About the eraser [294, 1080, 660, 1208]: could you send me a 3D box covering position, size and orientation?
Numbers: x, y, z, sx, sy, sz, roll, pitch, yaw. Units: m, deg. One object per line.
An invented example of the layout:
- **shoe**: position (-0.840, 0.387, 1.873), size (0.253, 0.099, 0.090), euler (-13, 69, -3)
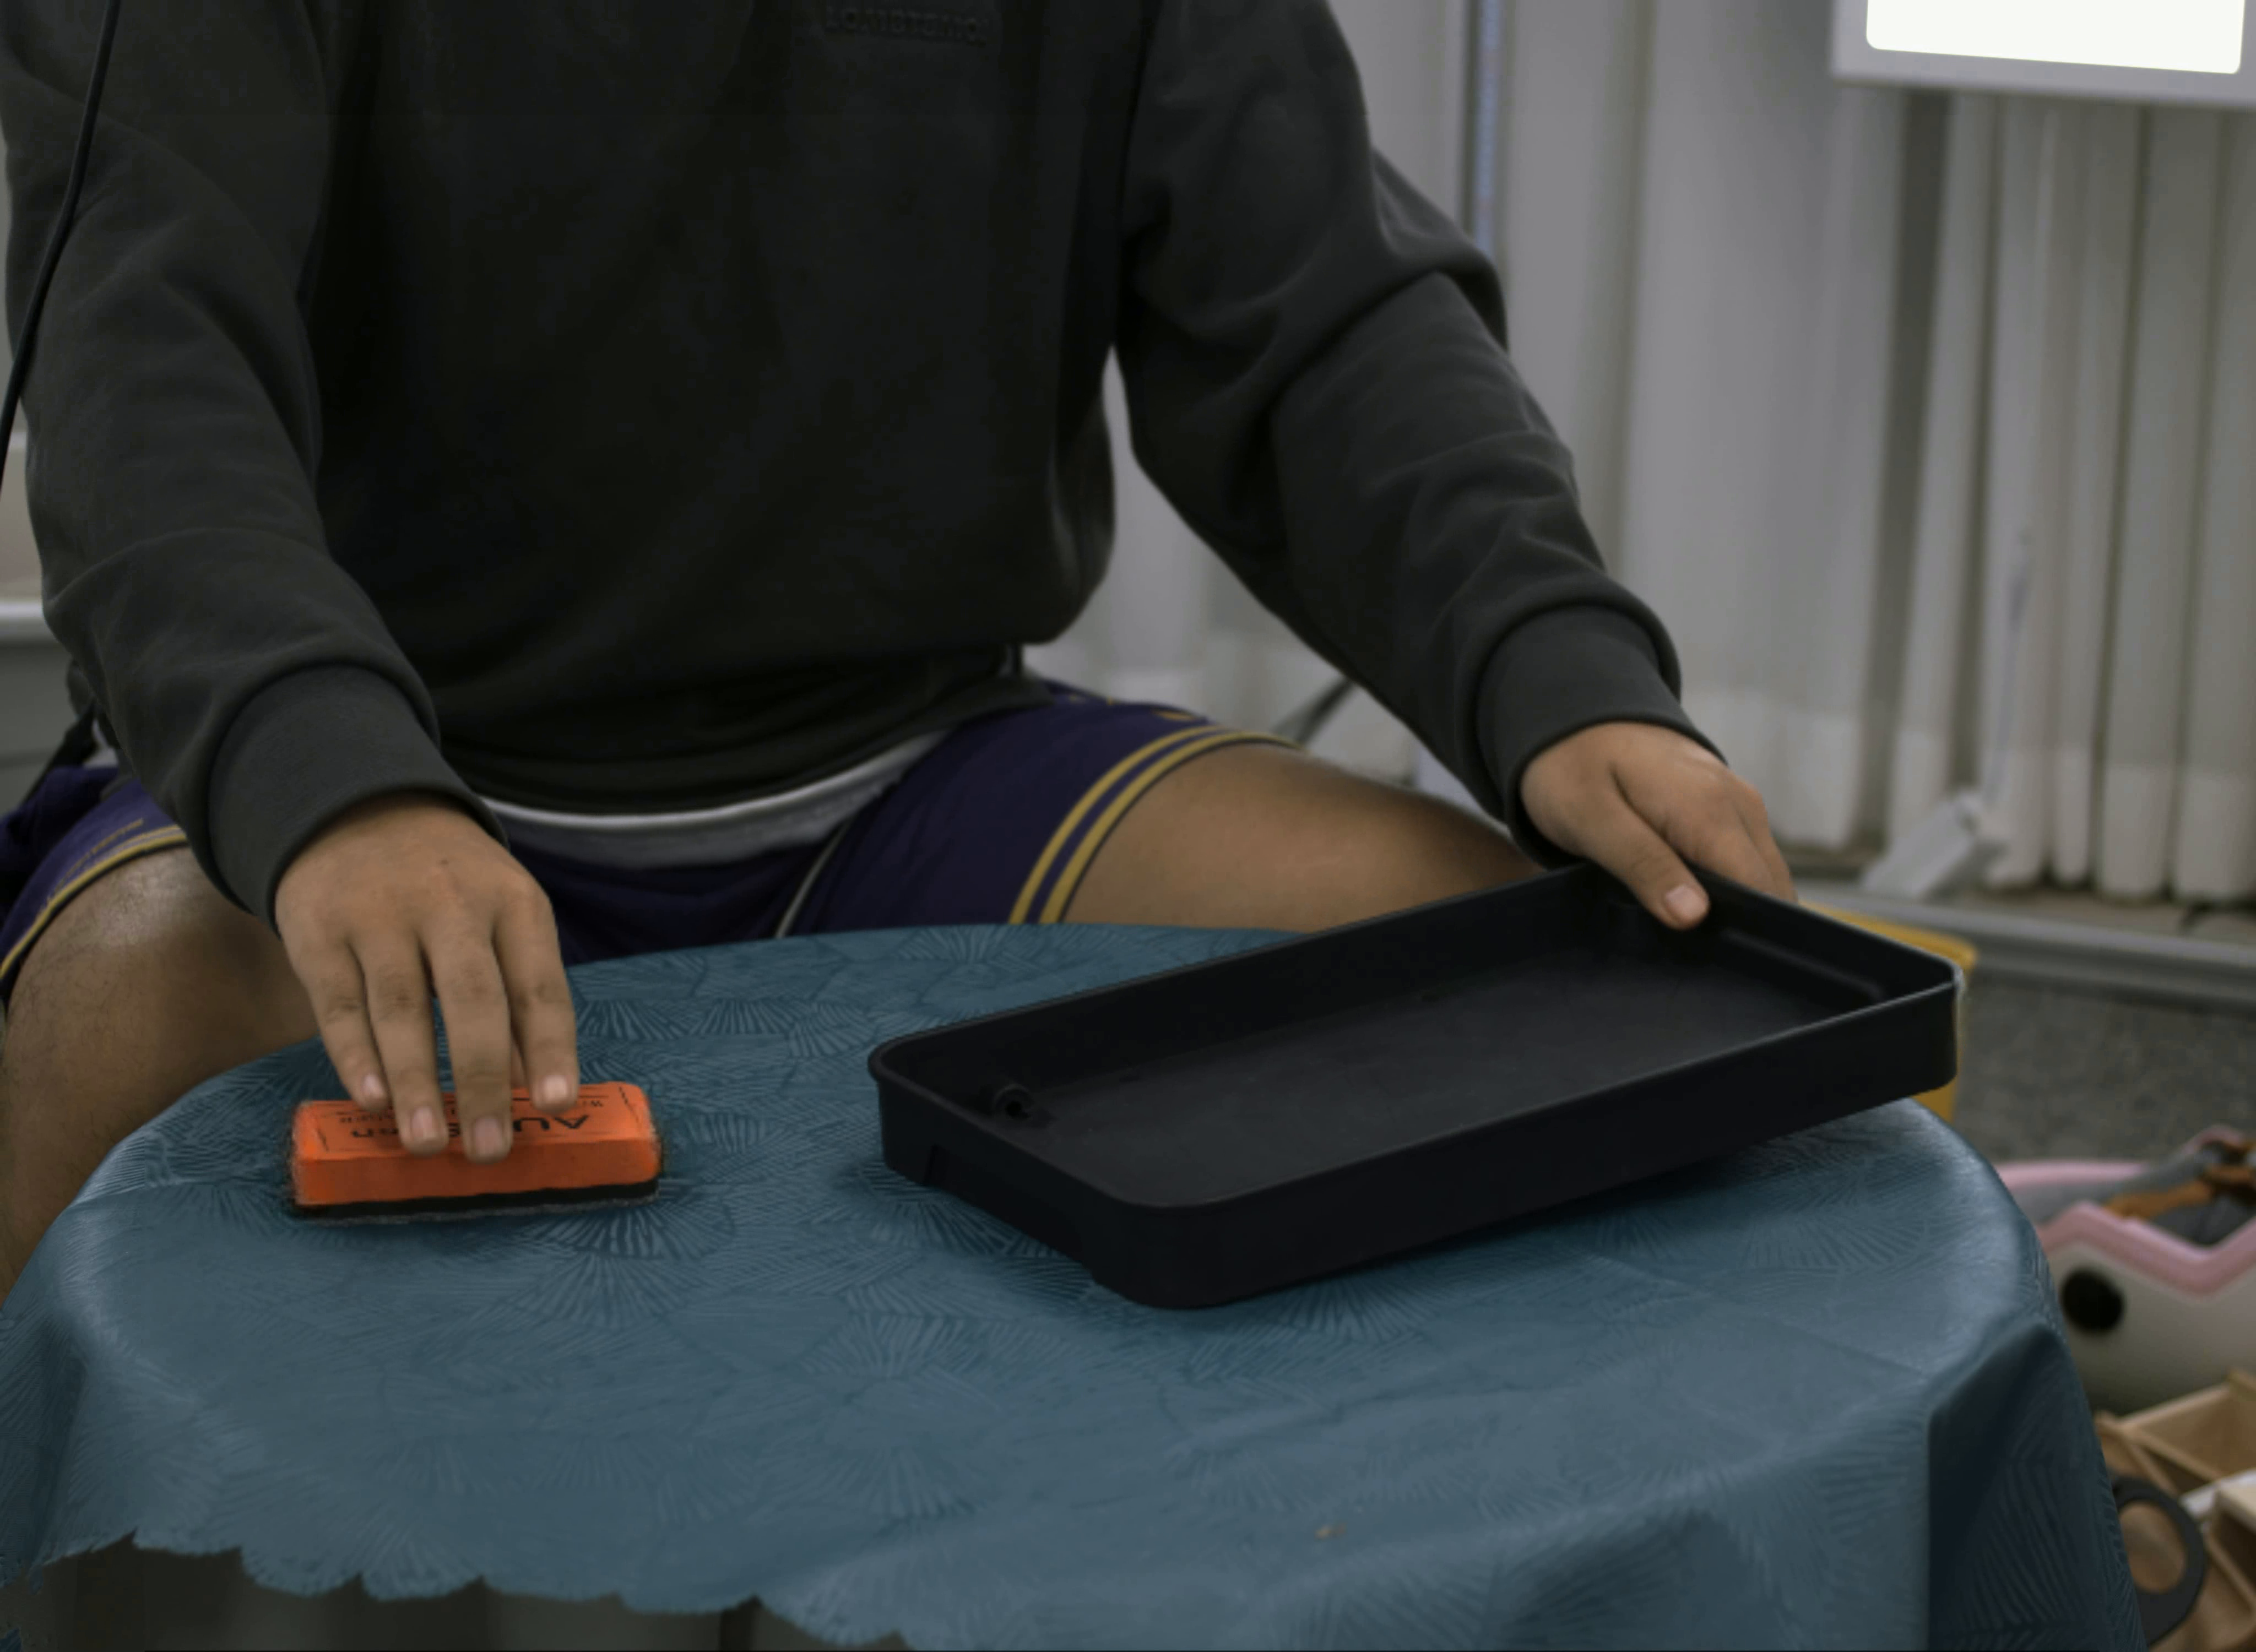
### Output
- **eraser**: position (-0.200, 0.097, 1.615), size (0.108, 0.023, 0.058), euler (-5, 8, -13)

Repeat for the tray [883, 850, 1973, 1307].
- **tray**: position (0.097, 0.074, 1.663), size (0.319, 0.037, 0.182), euler (-14, 20, -32)
